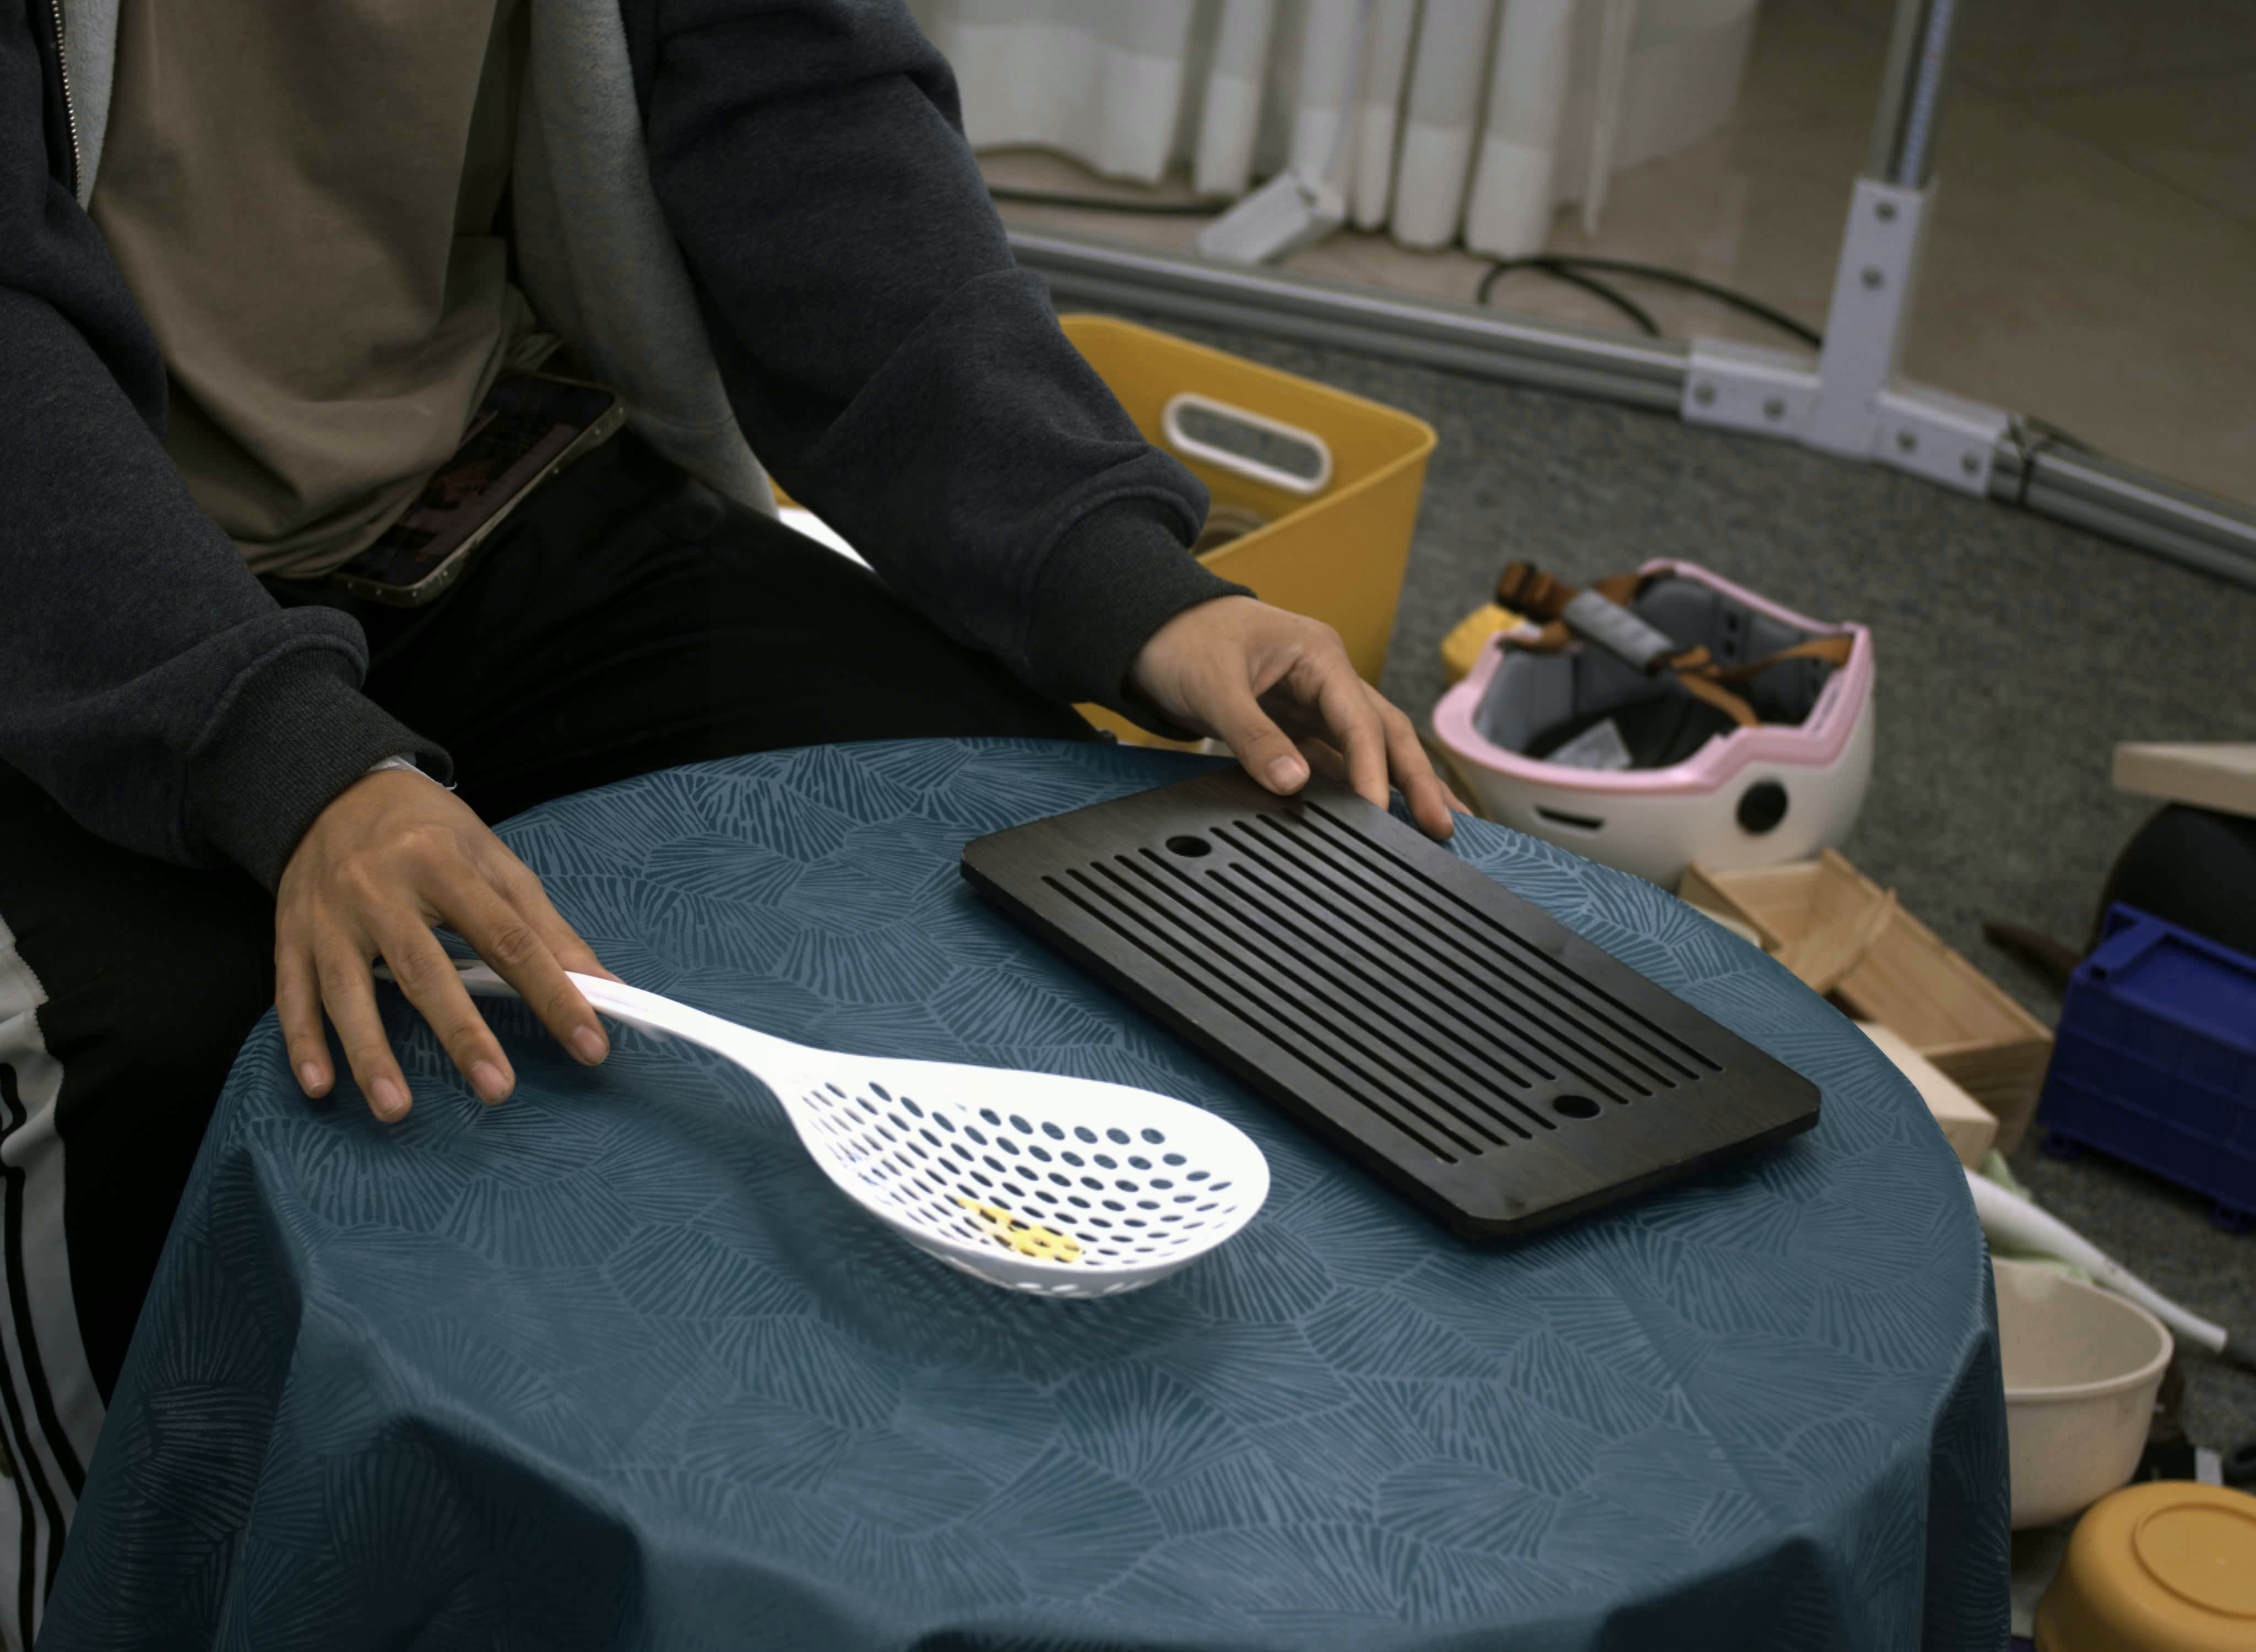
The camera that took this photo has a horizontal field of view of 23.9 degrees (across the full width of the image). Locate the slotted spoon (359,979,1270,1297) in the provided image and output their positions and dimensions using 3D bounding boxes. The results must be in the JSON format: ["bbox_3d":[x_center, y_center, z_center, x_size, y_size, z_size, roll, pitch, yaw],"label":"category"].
[{"bbox_3d":[-0.115,0.091,1.794,0.349,0.050,0.136,21,30,26],"label":"slotted spoon"}]

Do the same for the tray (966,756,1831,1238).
[{"bbox_3d":[0.093,0.059,1.929,0.169,0.018,0.308,-15,34,-36],"label":"tray"}]
